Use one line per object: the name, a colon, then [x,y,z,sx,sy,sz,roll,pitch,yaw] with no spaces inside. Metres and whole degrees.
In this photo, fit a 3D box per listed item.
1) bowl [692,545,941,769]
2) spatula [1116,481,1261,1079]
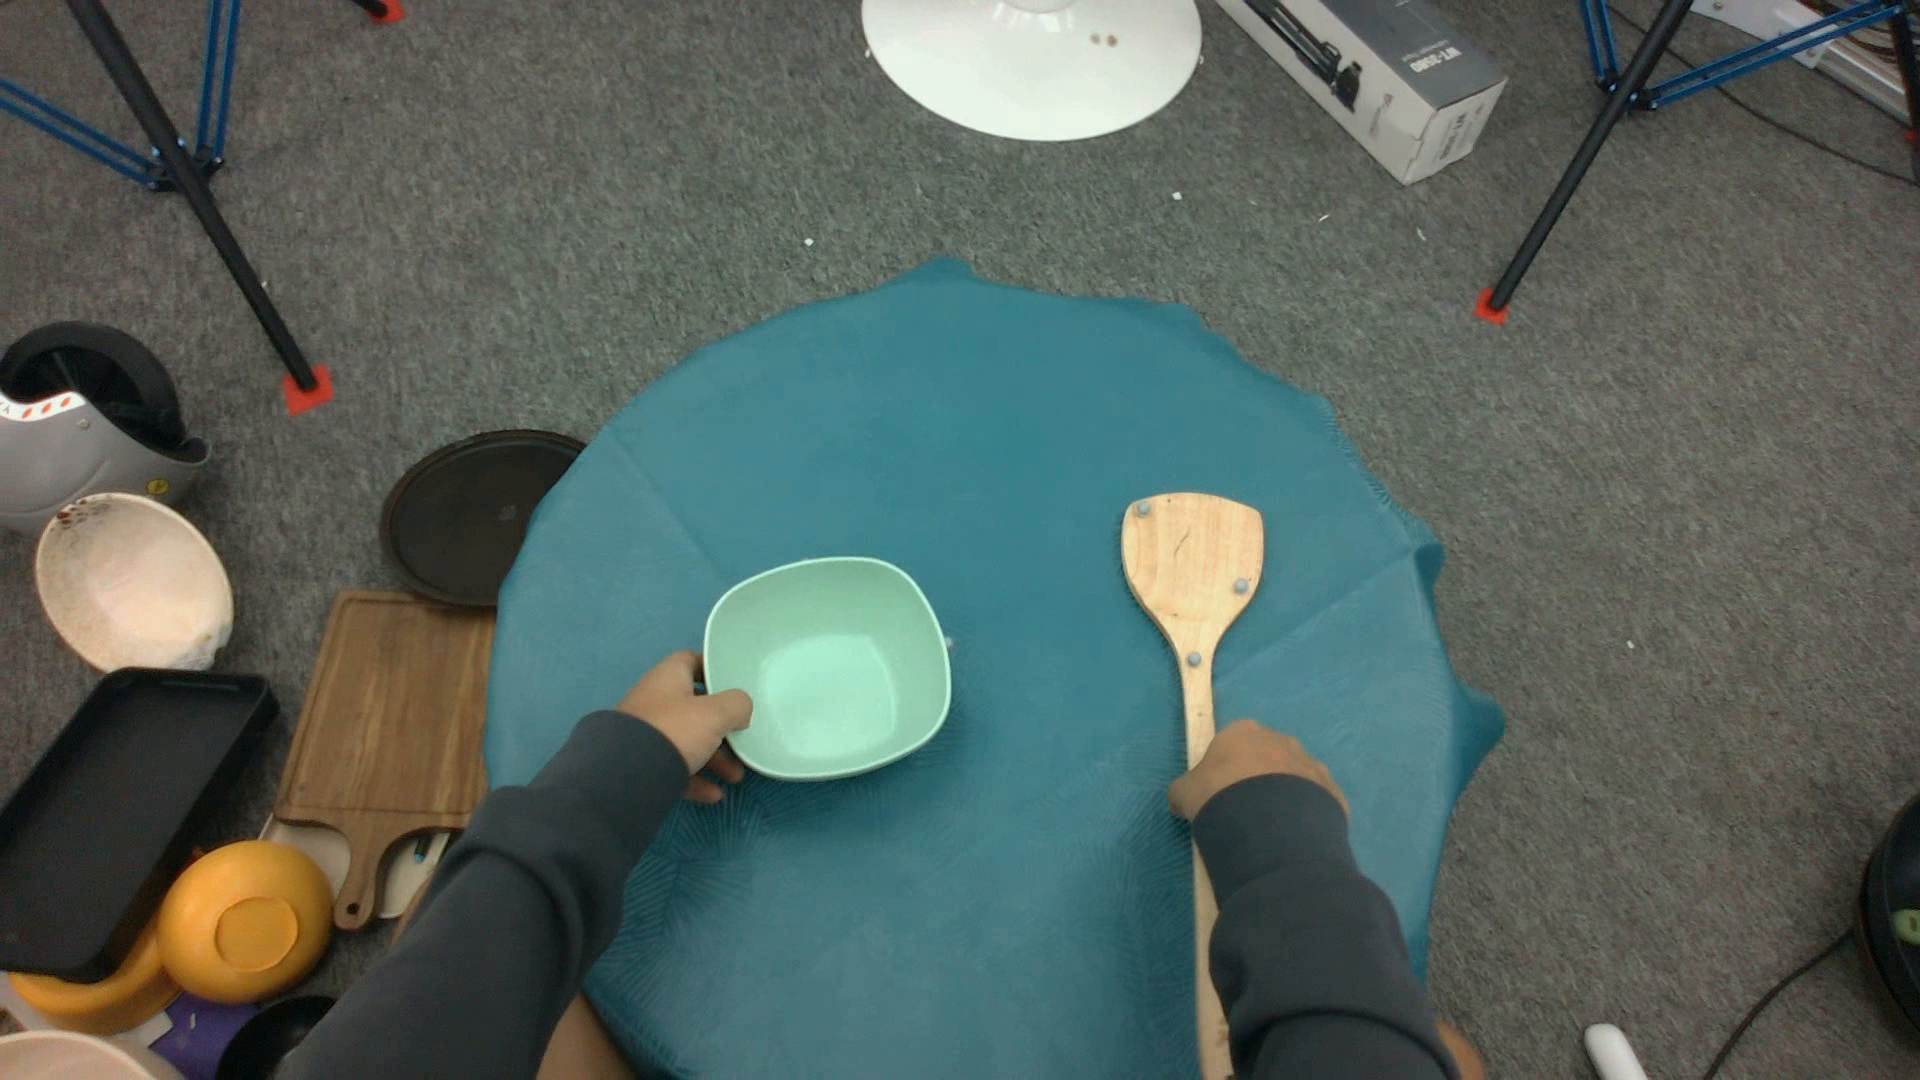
bowl: [-0.084,0.077,0.809,0.151,0.058,0.152,3,57,-4]
spatula: [0.146,0.128,0.816,0.096,0.018,0.392,2,56,-1]
